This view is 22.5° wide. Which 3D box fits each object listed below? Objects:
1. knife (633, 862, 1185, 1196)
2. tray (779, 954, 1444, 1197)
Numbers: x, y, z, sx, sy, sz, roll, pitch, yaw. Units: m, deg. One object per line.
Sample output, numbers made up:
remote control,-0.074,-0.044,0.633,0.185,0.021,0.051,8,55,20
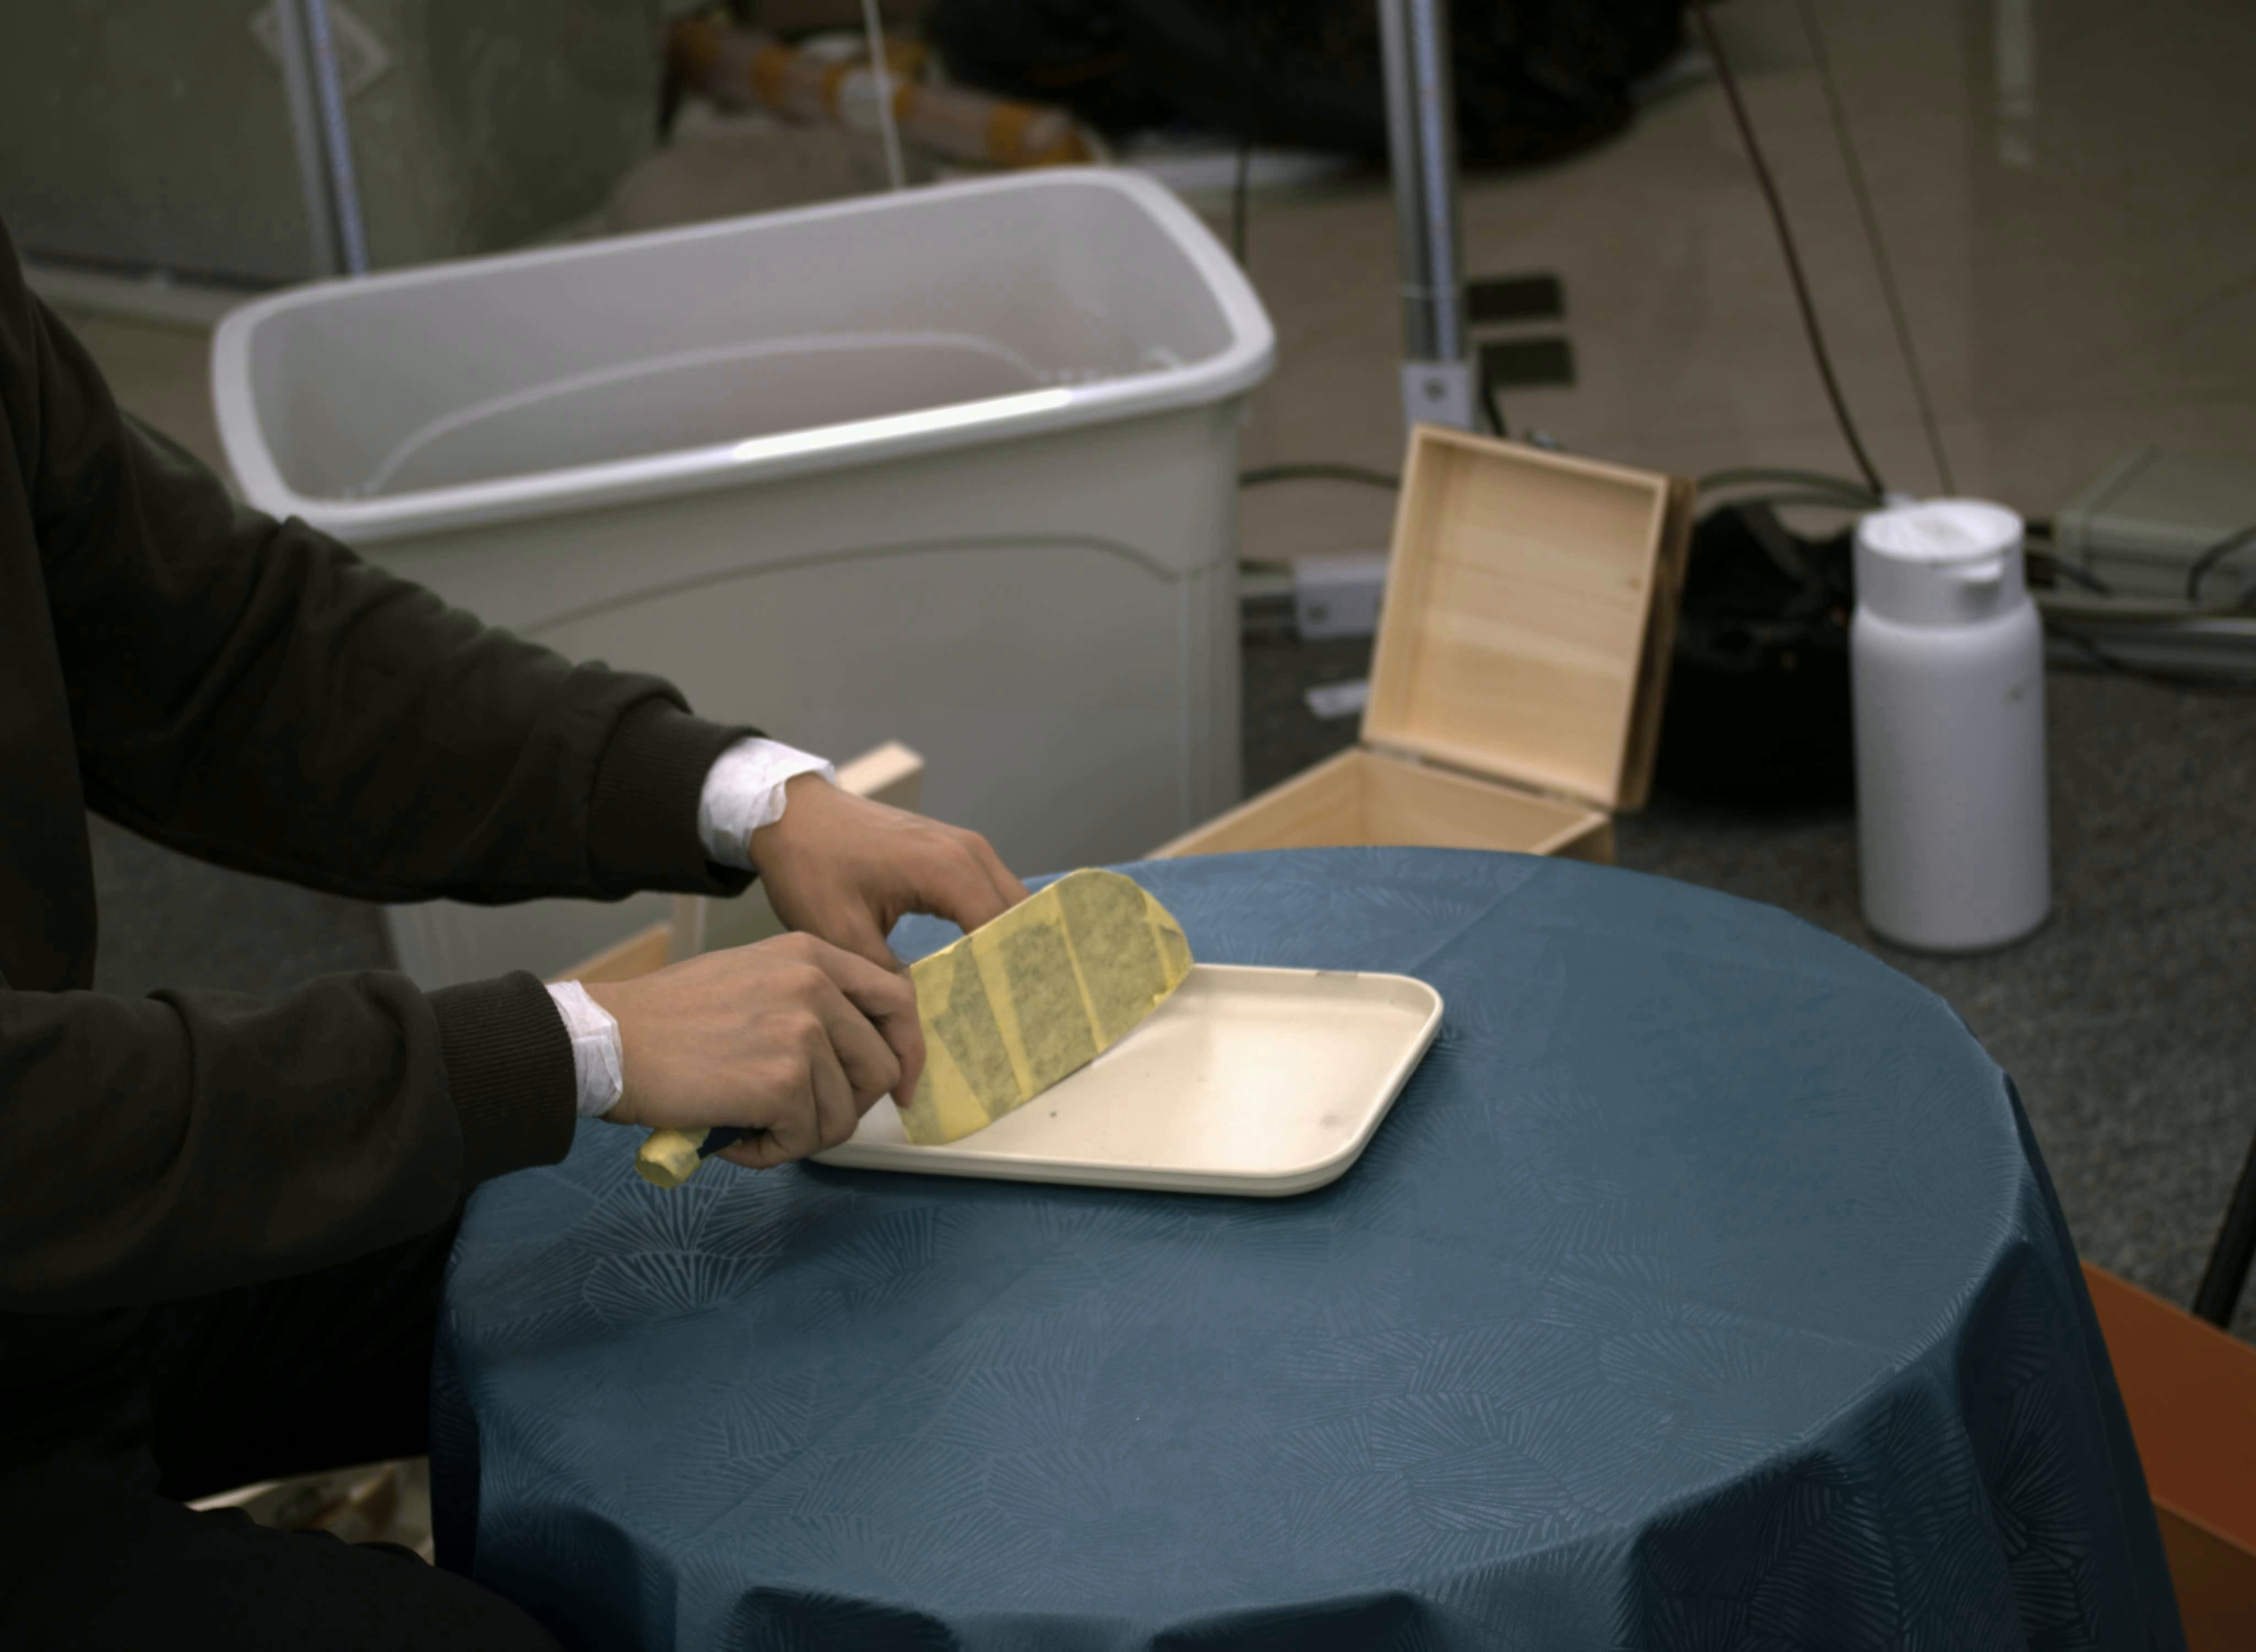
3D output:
knife,-0.077,0.087,2.186,0.287,0.082,0.027,-27,18,-39
tray,-0.005,0.097,2.221,0.239,0.018,0.169,3,27,20
